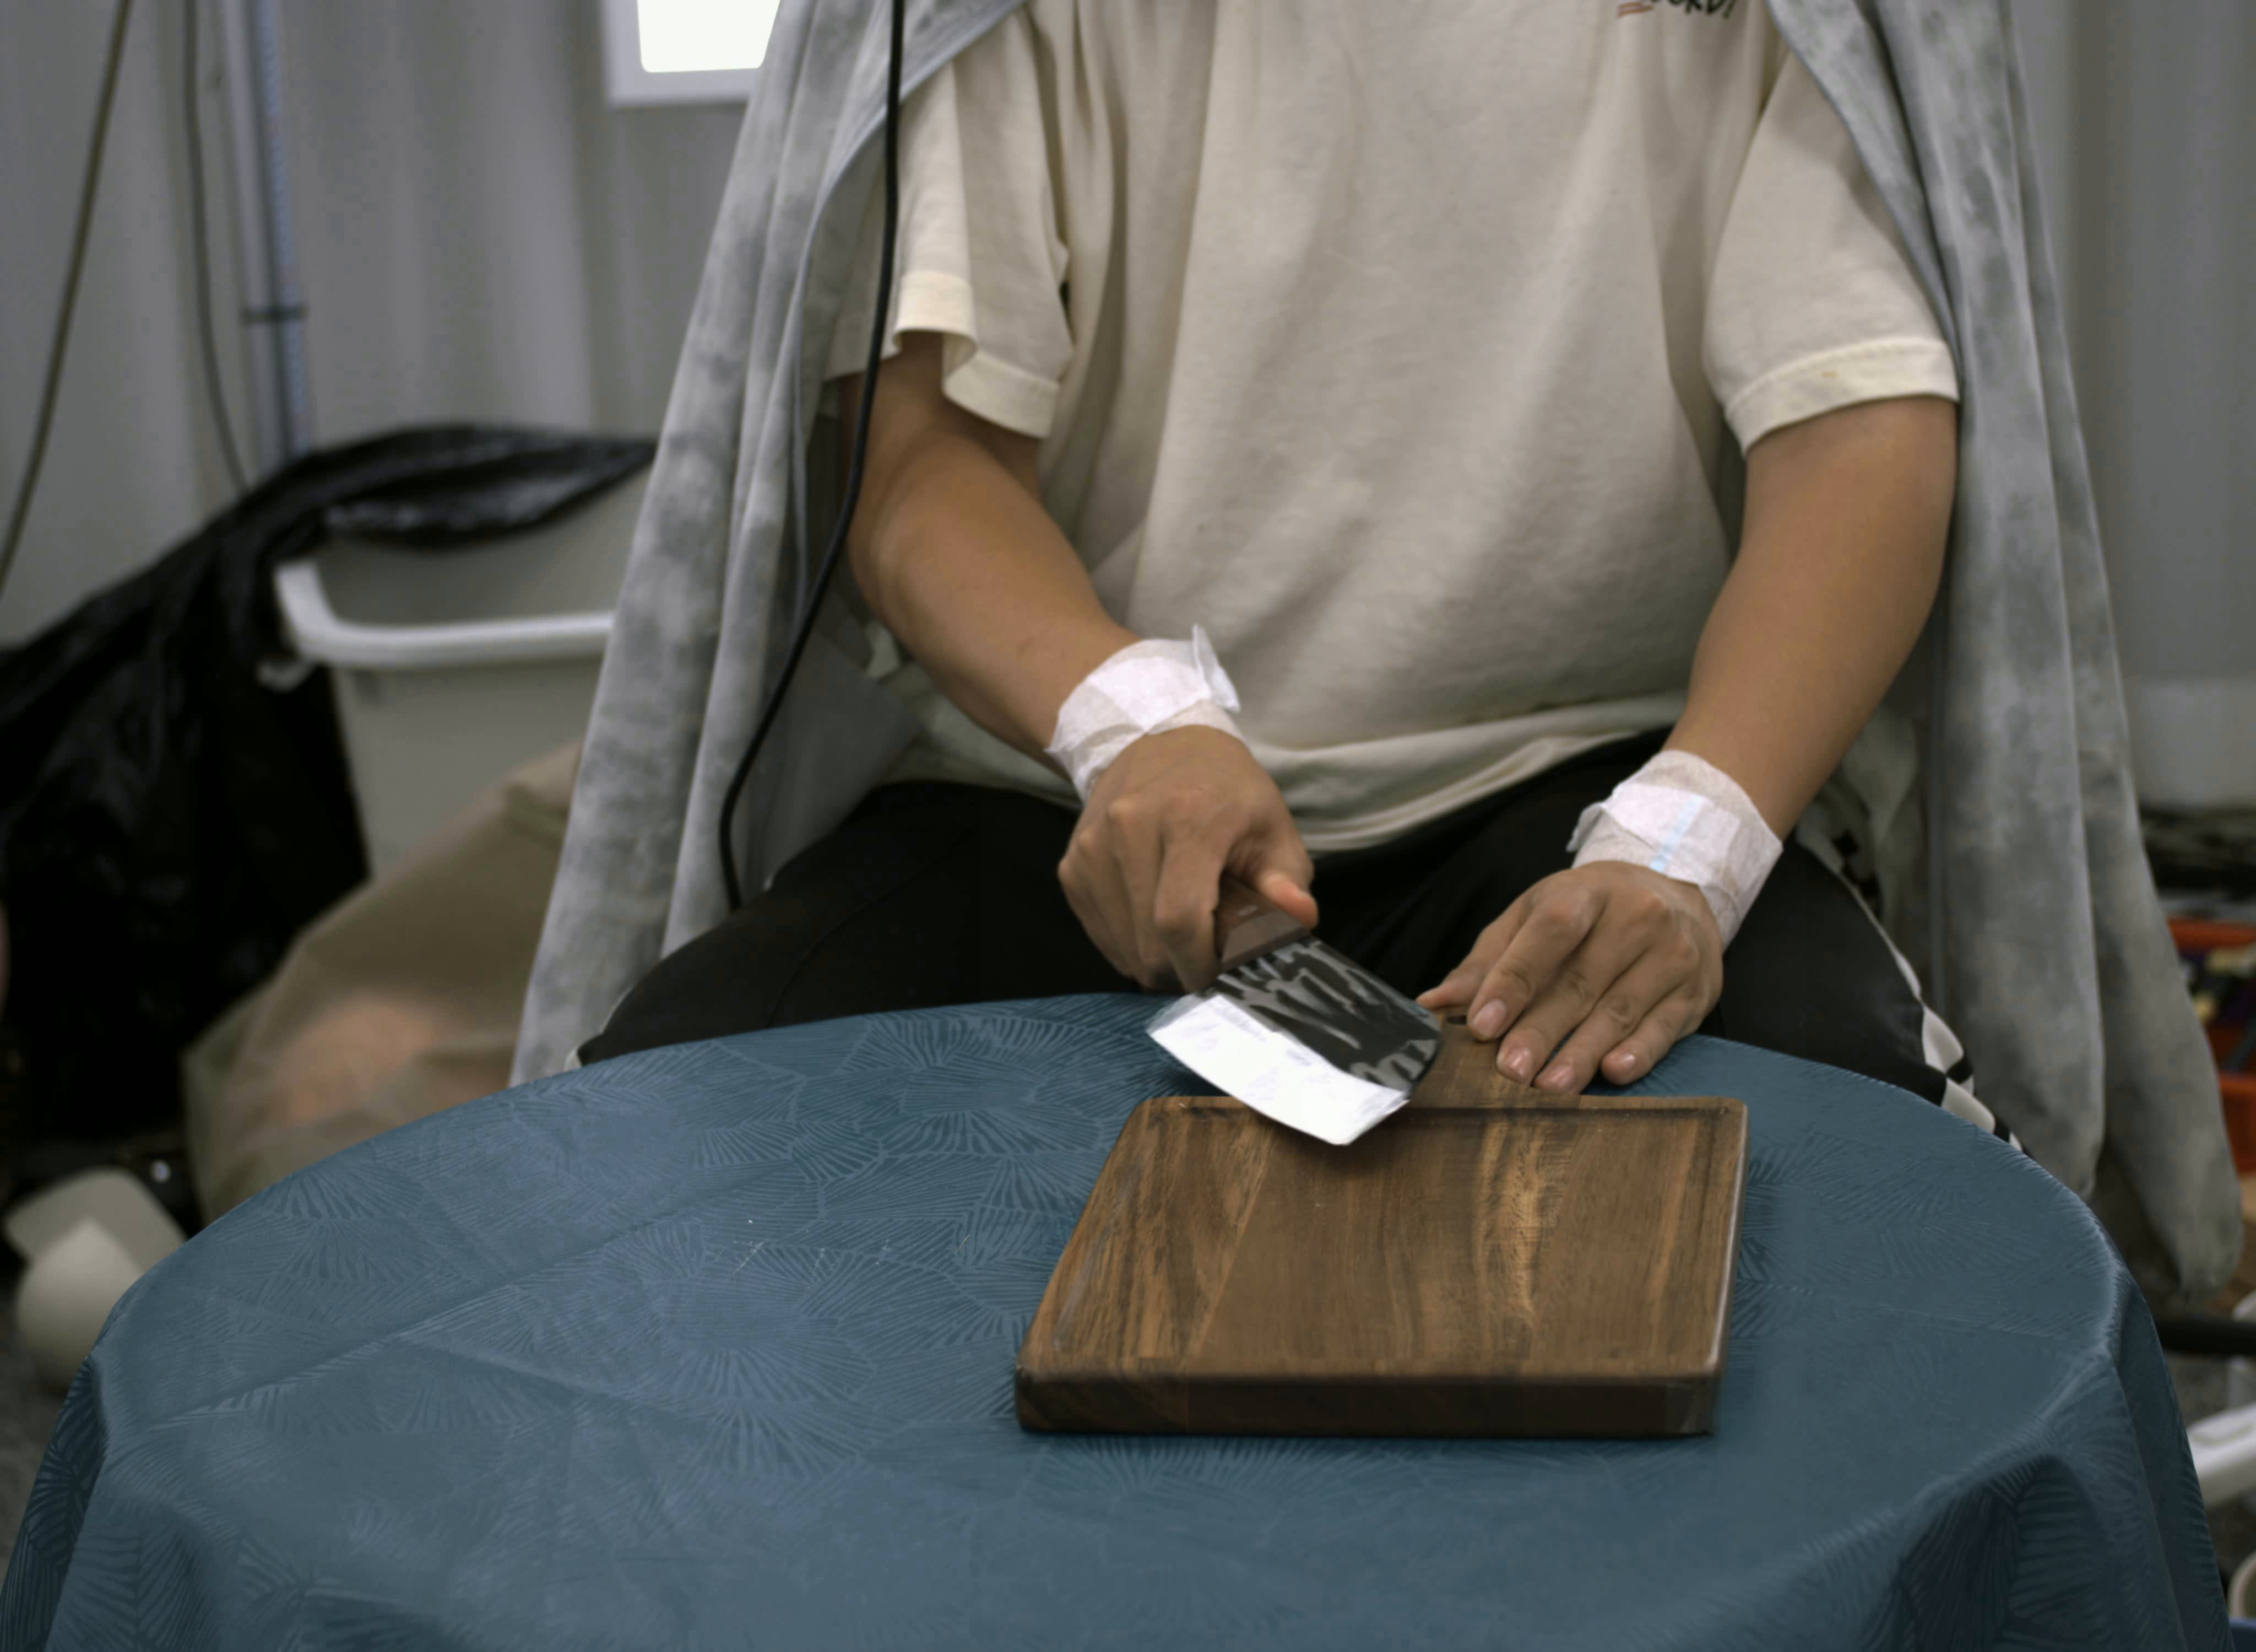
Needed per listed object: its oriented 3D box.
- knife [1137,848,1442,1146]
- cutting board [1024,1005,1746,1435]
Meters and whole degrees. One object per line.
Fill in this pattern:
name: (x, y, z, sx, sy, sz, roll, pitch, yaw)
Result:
knife: (0.042, 0.057, 1.818, 0.068, 0.024, 0.302, -27, 18, -10)
cutting board: (0.089, 0.114, 1.666, 0.200, 0.023, 0.354, -1, 14, 8)
